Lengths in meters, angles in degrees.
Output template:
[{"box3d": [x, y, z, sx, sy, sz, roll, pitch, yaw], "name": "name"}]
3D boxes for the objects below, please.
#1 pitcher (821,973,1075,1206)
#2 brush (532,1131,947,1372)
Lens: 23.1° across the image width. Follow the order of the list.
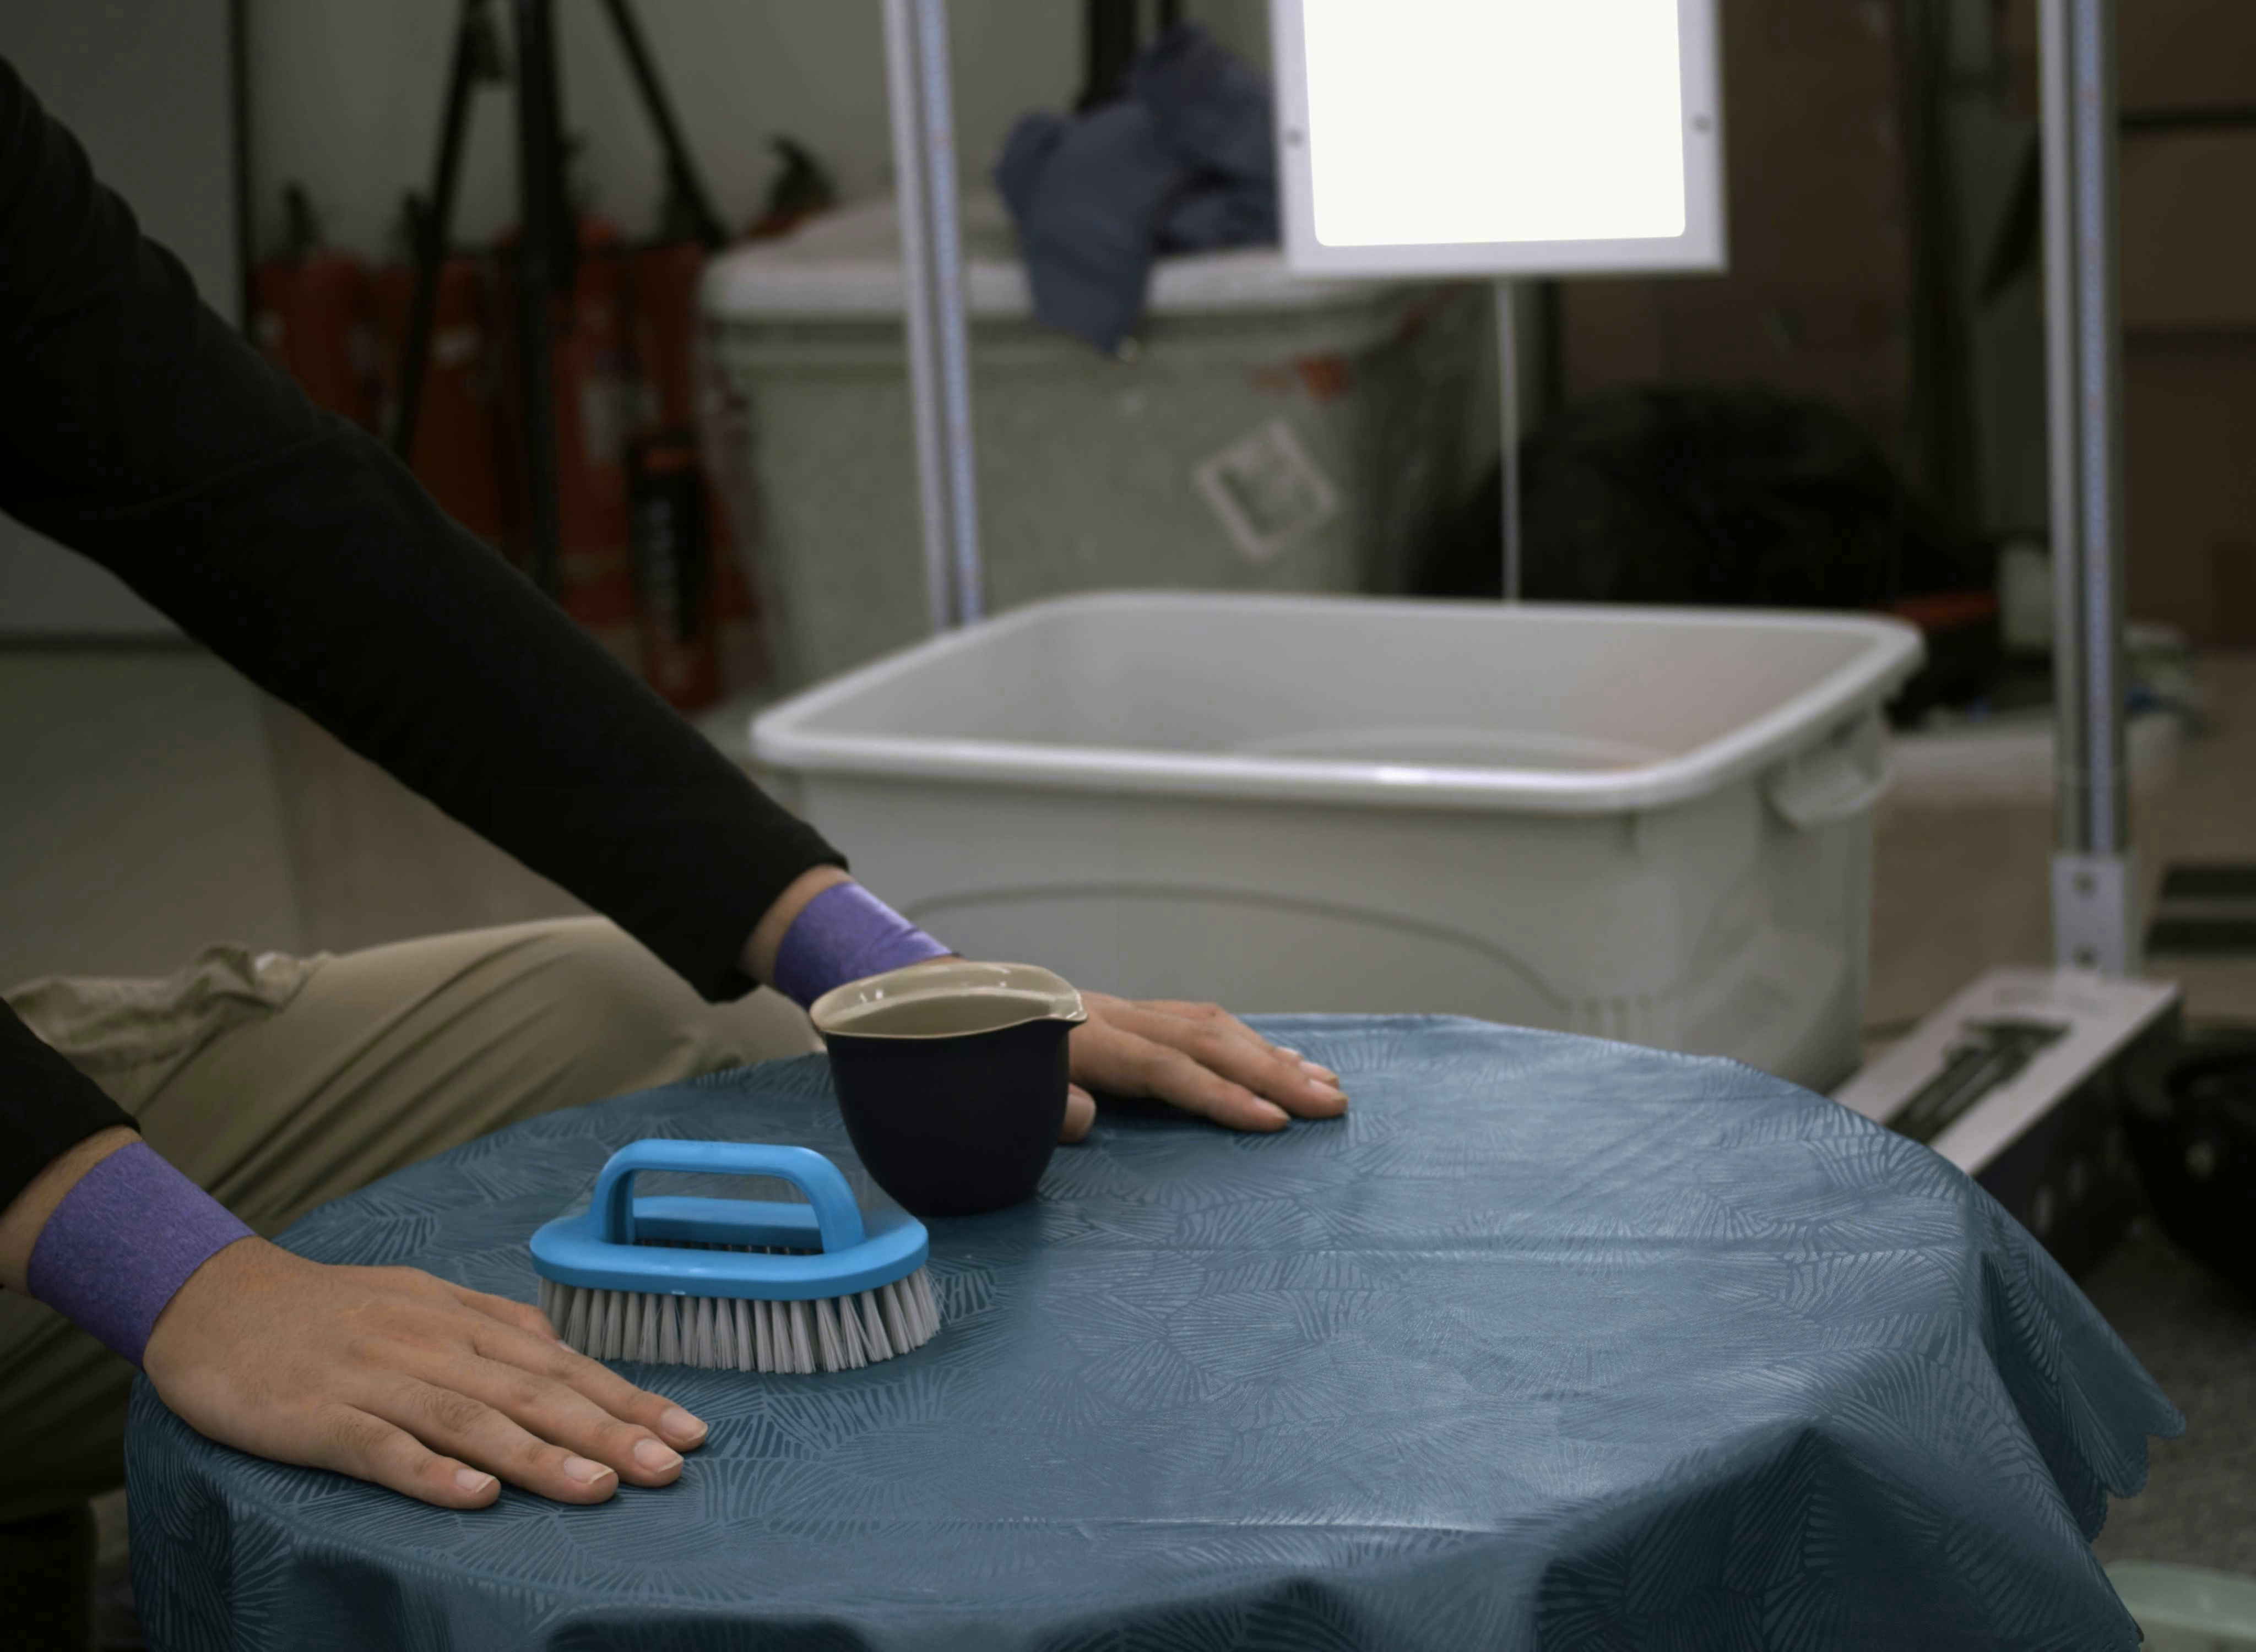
[{"box3d": [-0.058, 0.091, 1.904, 0.098, 0.071, 0.081, 7, 17, 35], "name": "pitcher"}, {"box3d": [-0.130, 0.131, 1.787, 0.144, 0.064, 0.082, 1, 19, 27], "name": "brush"}]
